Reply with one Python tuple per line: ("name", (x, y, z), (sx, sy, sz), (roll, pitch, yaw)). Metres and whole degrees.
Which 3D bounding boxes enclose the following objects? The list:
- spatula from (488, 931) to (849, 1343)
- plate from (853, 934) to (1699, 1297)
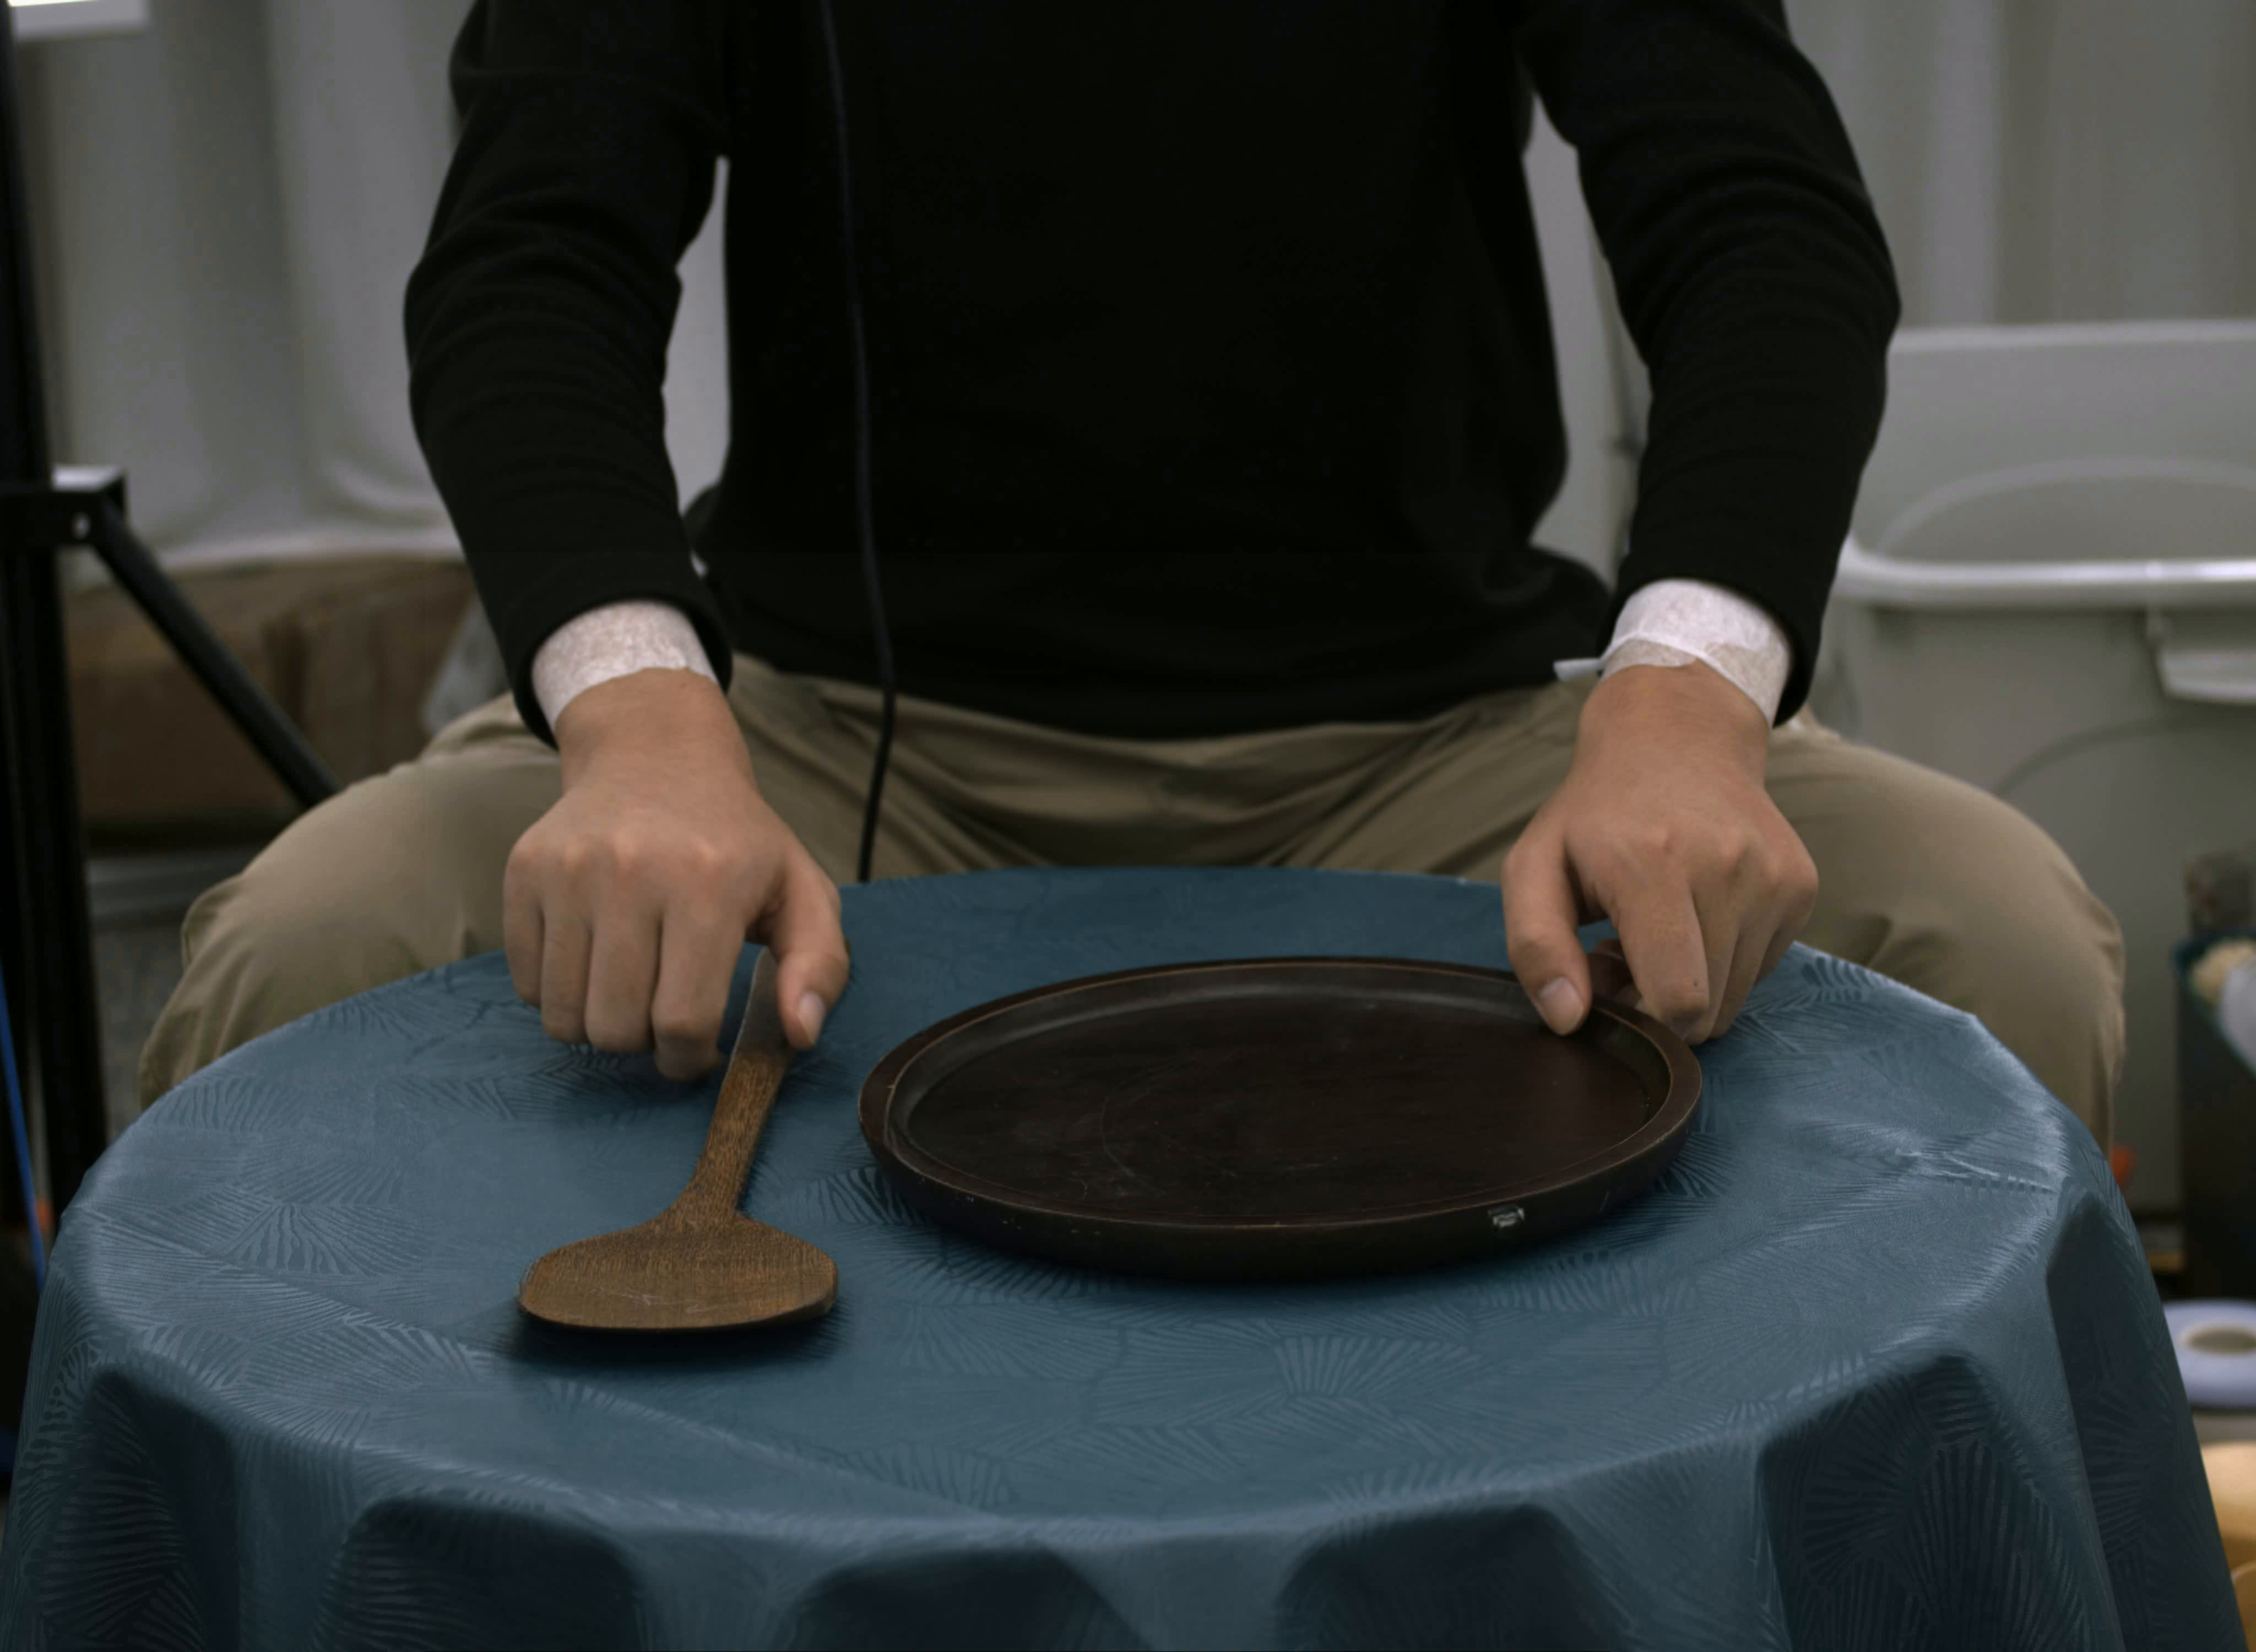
("spatula", (-0.118, 0.088, 1.621), (0.096, 0.016, 0.386), (-1, 16, 4))
("plate", (0.044, 0.087, 1.584), (0.253, 0.029, 0.256), (-3, 17, 0))
